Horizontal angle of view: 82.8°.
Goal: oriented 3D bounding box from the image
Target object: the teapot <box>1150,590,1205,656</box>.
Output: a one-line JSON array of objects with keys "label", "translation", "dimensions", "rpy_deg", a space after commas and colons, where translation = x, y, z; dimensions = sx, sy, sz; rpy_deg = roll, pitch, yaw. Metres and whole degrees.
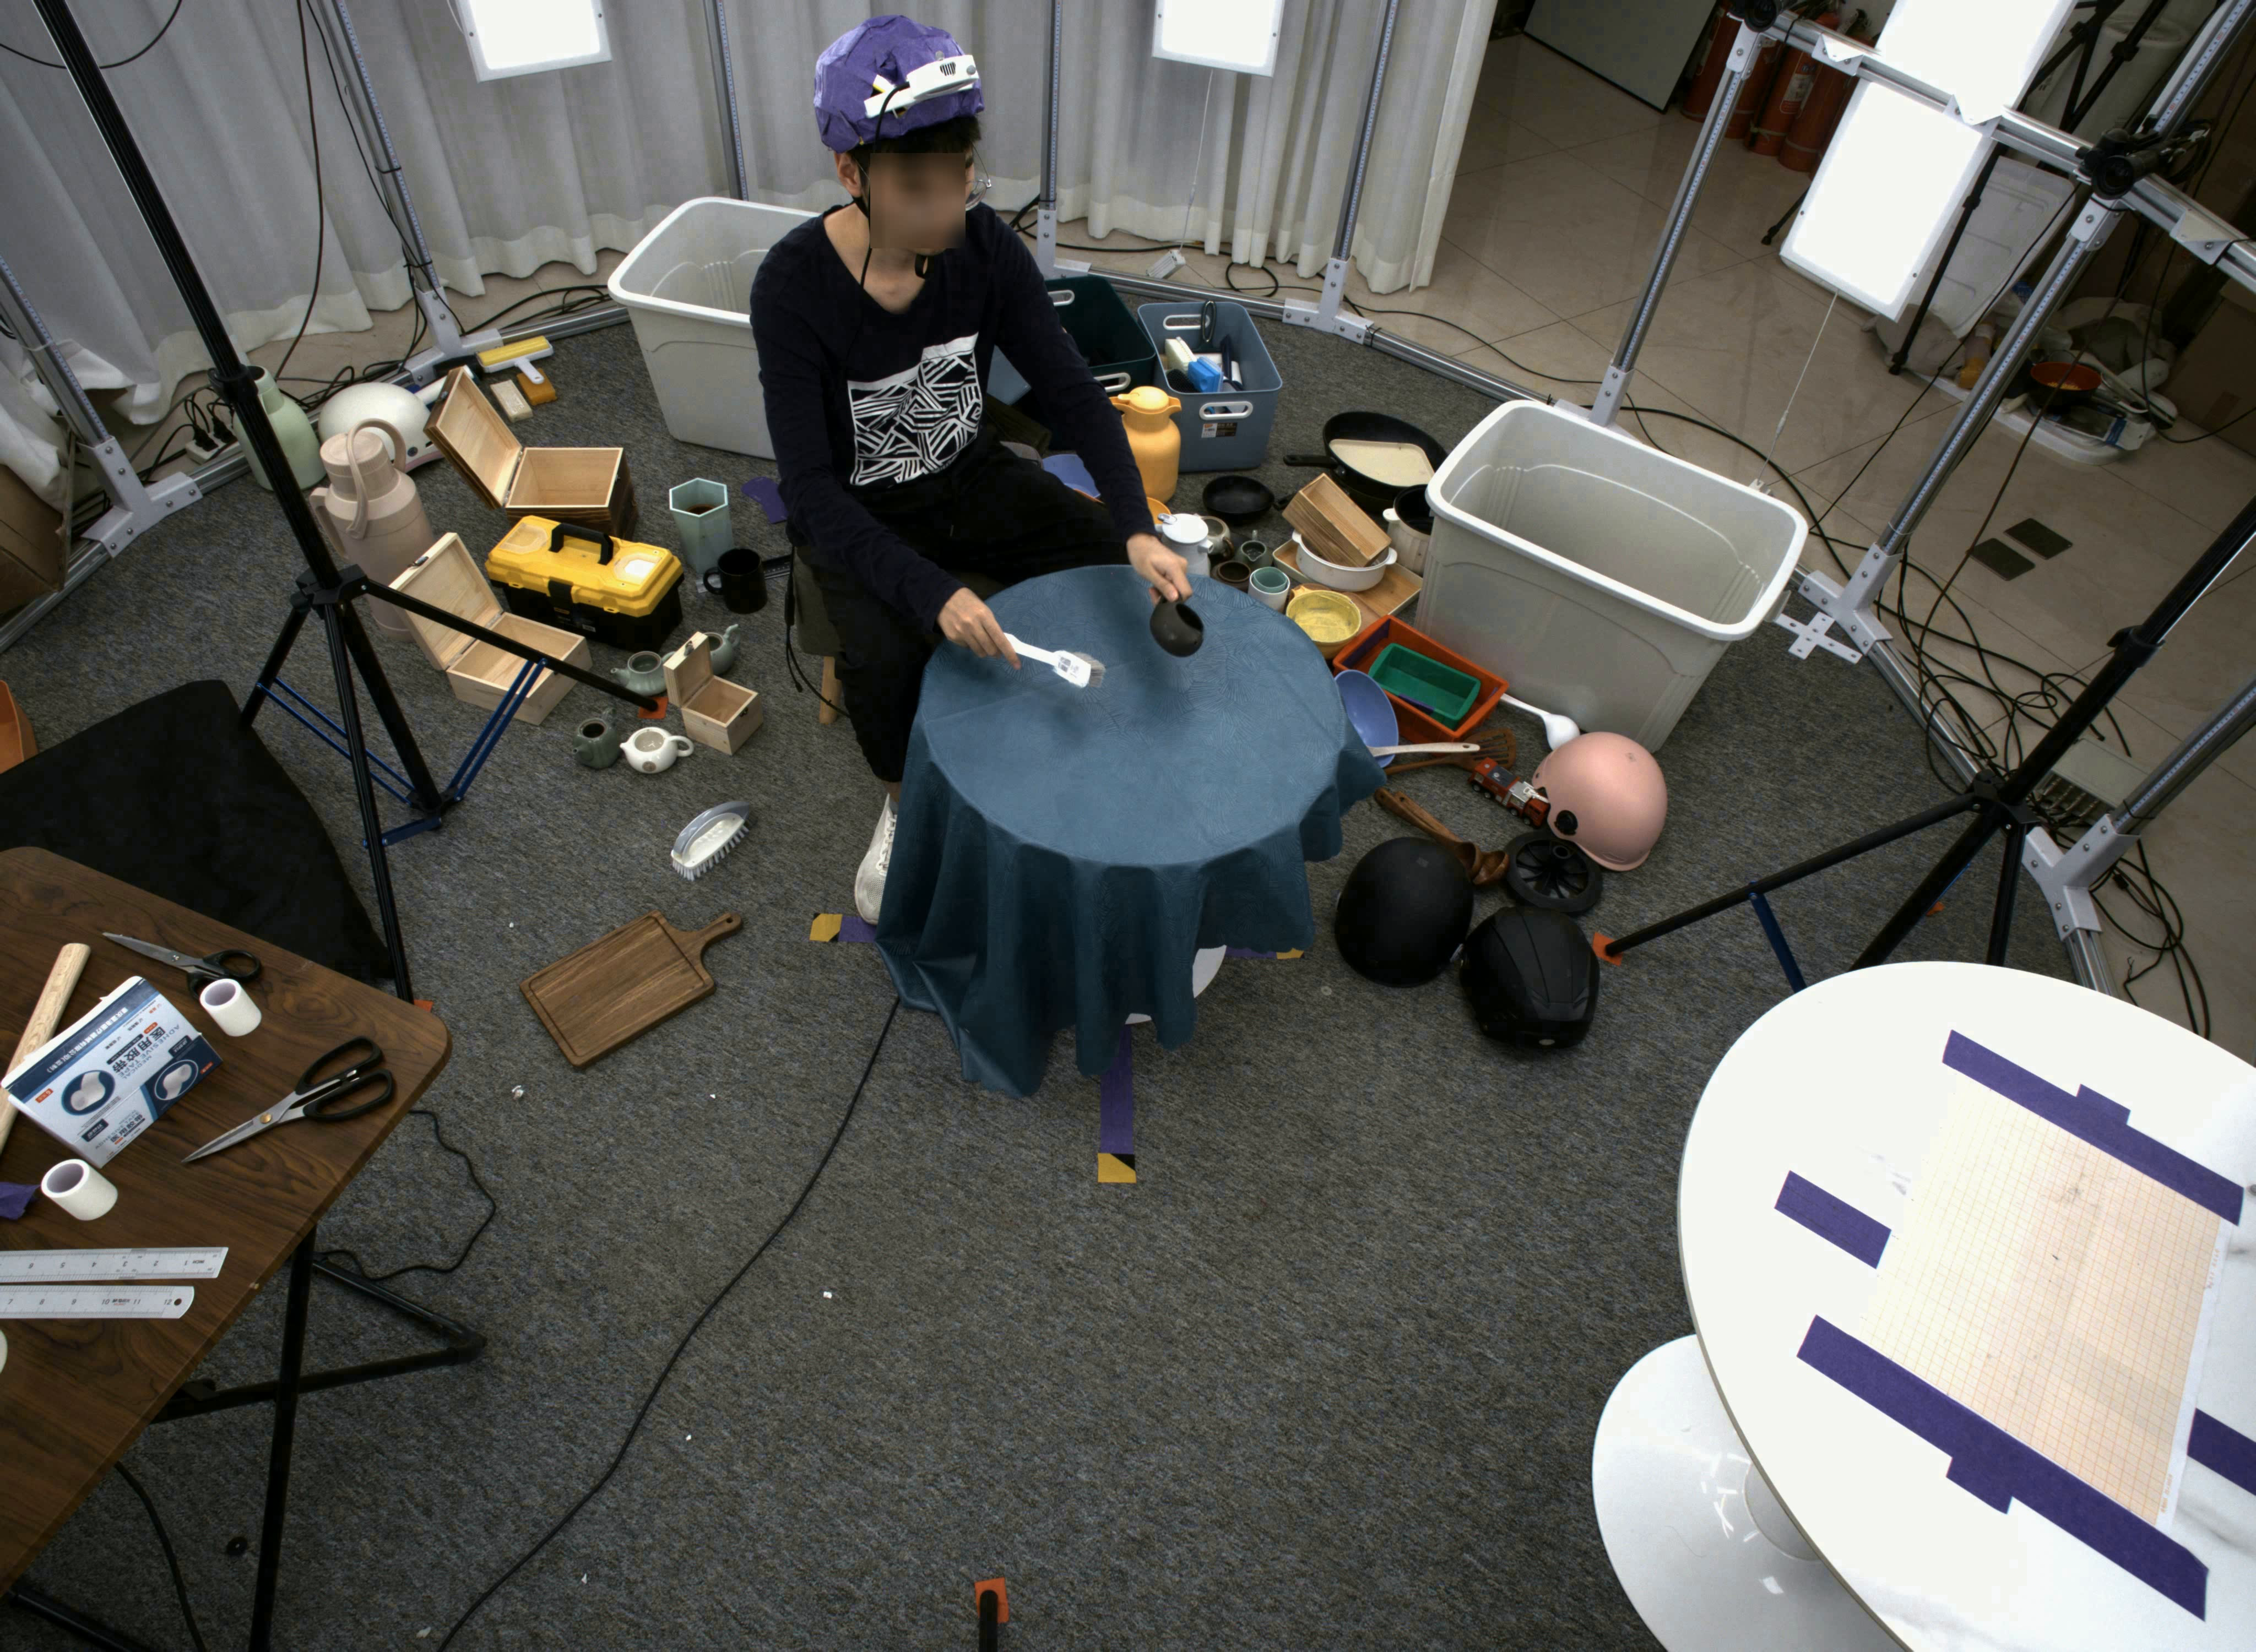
[{"label": "teapot", "translation": [0.068, -0.287, 1.803], "dimensions": [0.082, 0.052, 0.117], "rpy_deg": [19, 42, -39]}]

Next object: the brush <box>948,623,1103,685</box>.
[{"label": "brush", "translation": [-0.143, -0.244, 1.801], "dimensions": [0.246, 0.034, 0.050], "rpy_deg": [21, 19, 25]}]
